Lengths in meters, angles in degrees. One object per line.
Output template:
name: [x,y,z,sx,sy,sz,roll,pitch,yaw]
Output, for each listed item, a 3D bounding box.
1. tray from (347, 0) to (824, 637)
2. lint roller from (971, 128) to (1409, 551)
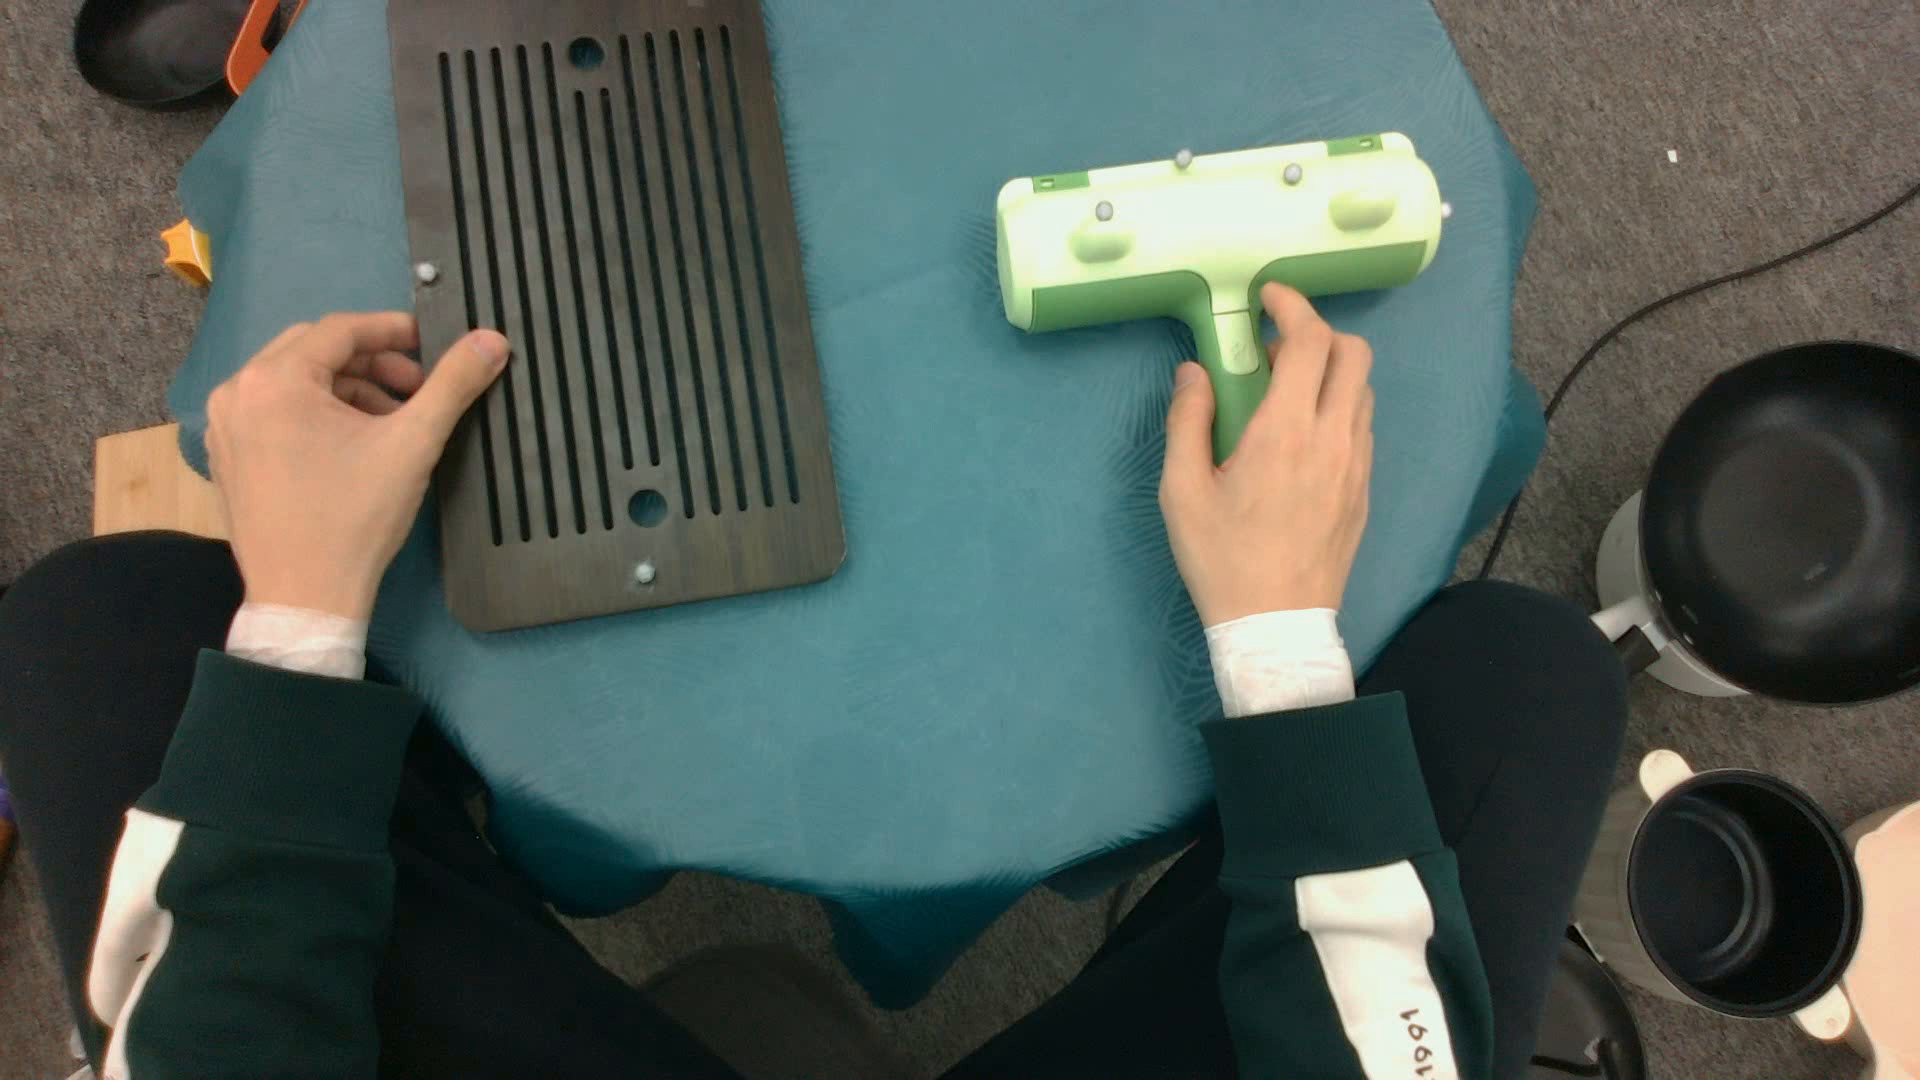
tray: [-0.171,-0.117,0.624,0.170,0.018,0.306,-10,80,-8]
lint roller: [0.114,-0.091,0.611,0.199,0.082,0.183,-8,77,-6]
